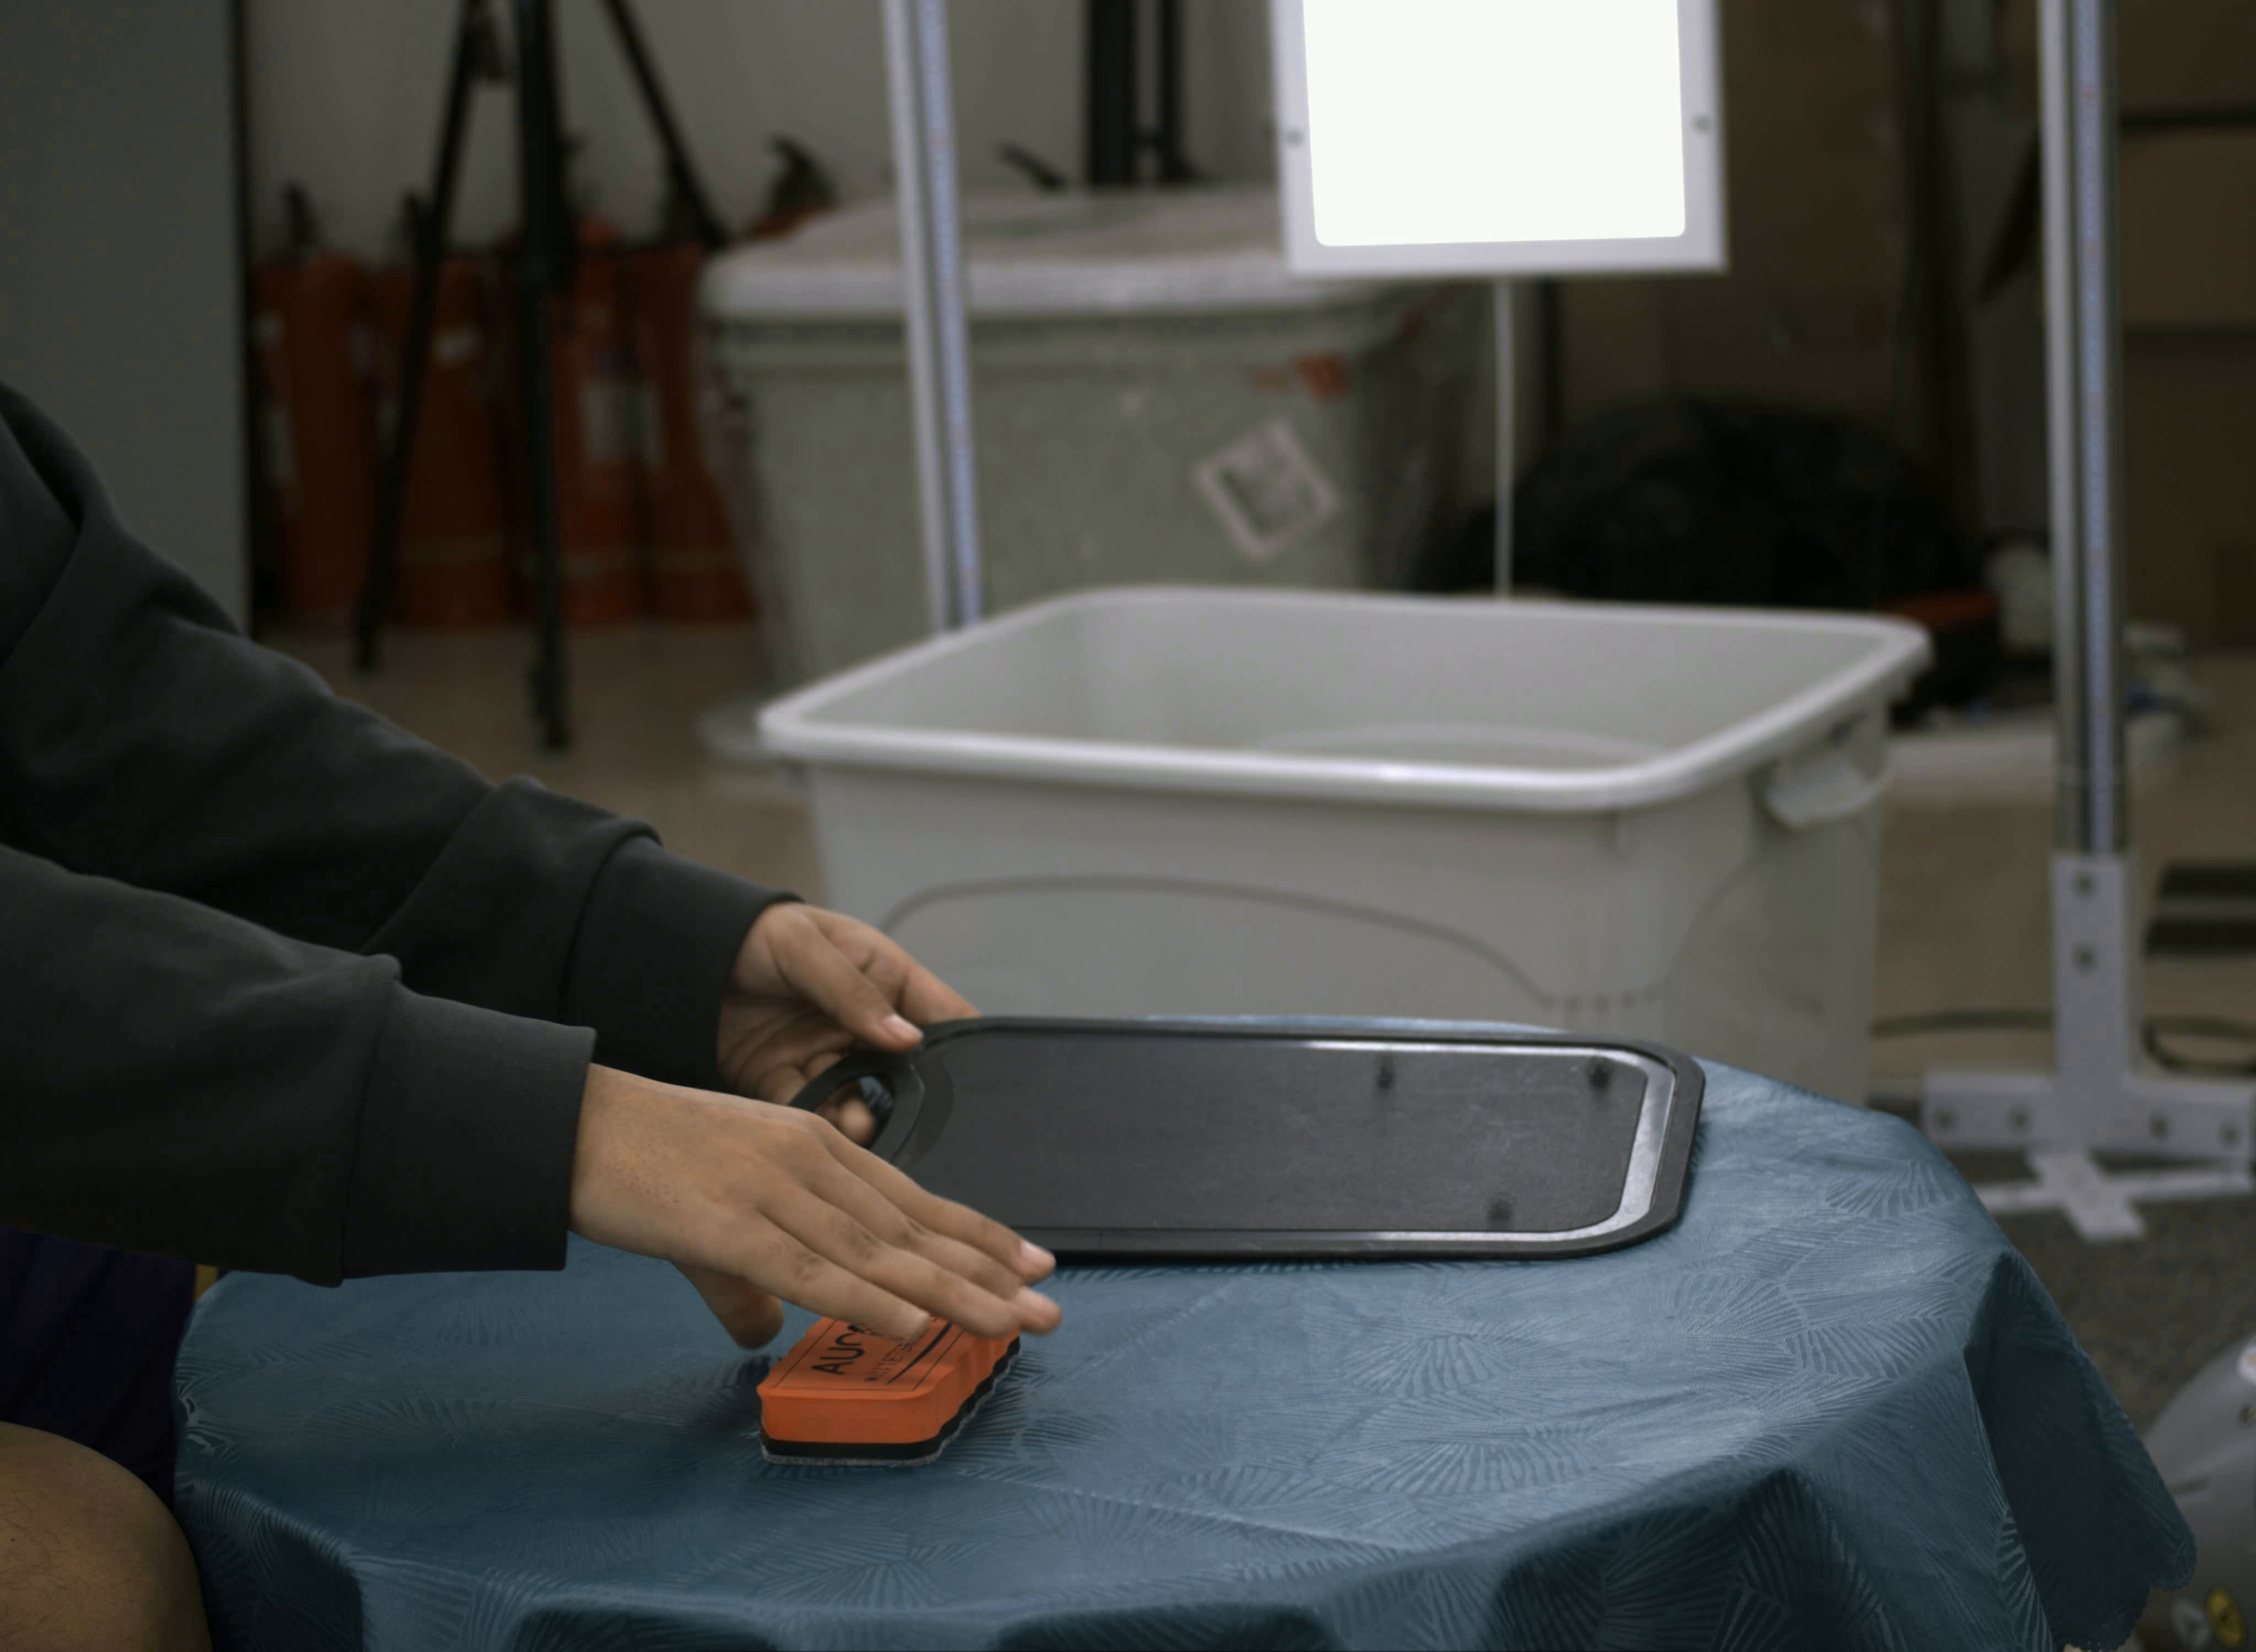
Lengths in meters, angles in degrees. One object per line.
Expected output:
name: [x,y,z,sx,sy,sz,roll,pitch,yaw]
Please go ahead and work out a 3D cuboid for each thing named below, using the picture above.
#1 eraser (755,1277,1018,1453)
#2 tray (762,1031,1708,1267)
eraser: [-0.073,0.166,1.703,0.059,0.023,0.106,0,13,16]
tray: [0.035,0.108,1.909,0.328,0.010,0.208,0,18,13]
